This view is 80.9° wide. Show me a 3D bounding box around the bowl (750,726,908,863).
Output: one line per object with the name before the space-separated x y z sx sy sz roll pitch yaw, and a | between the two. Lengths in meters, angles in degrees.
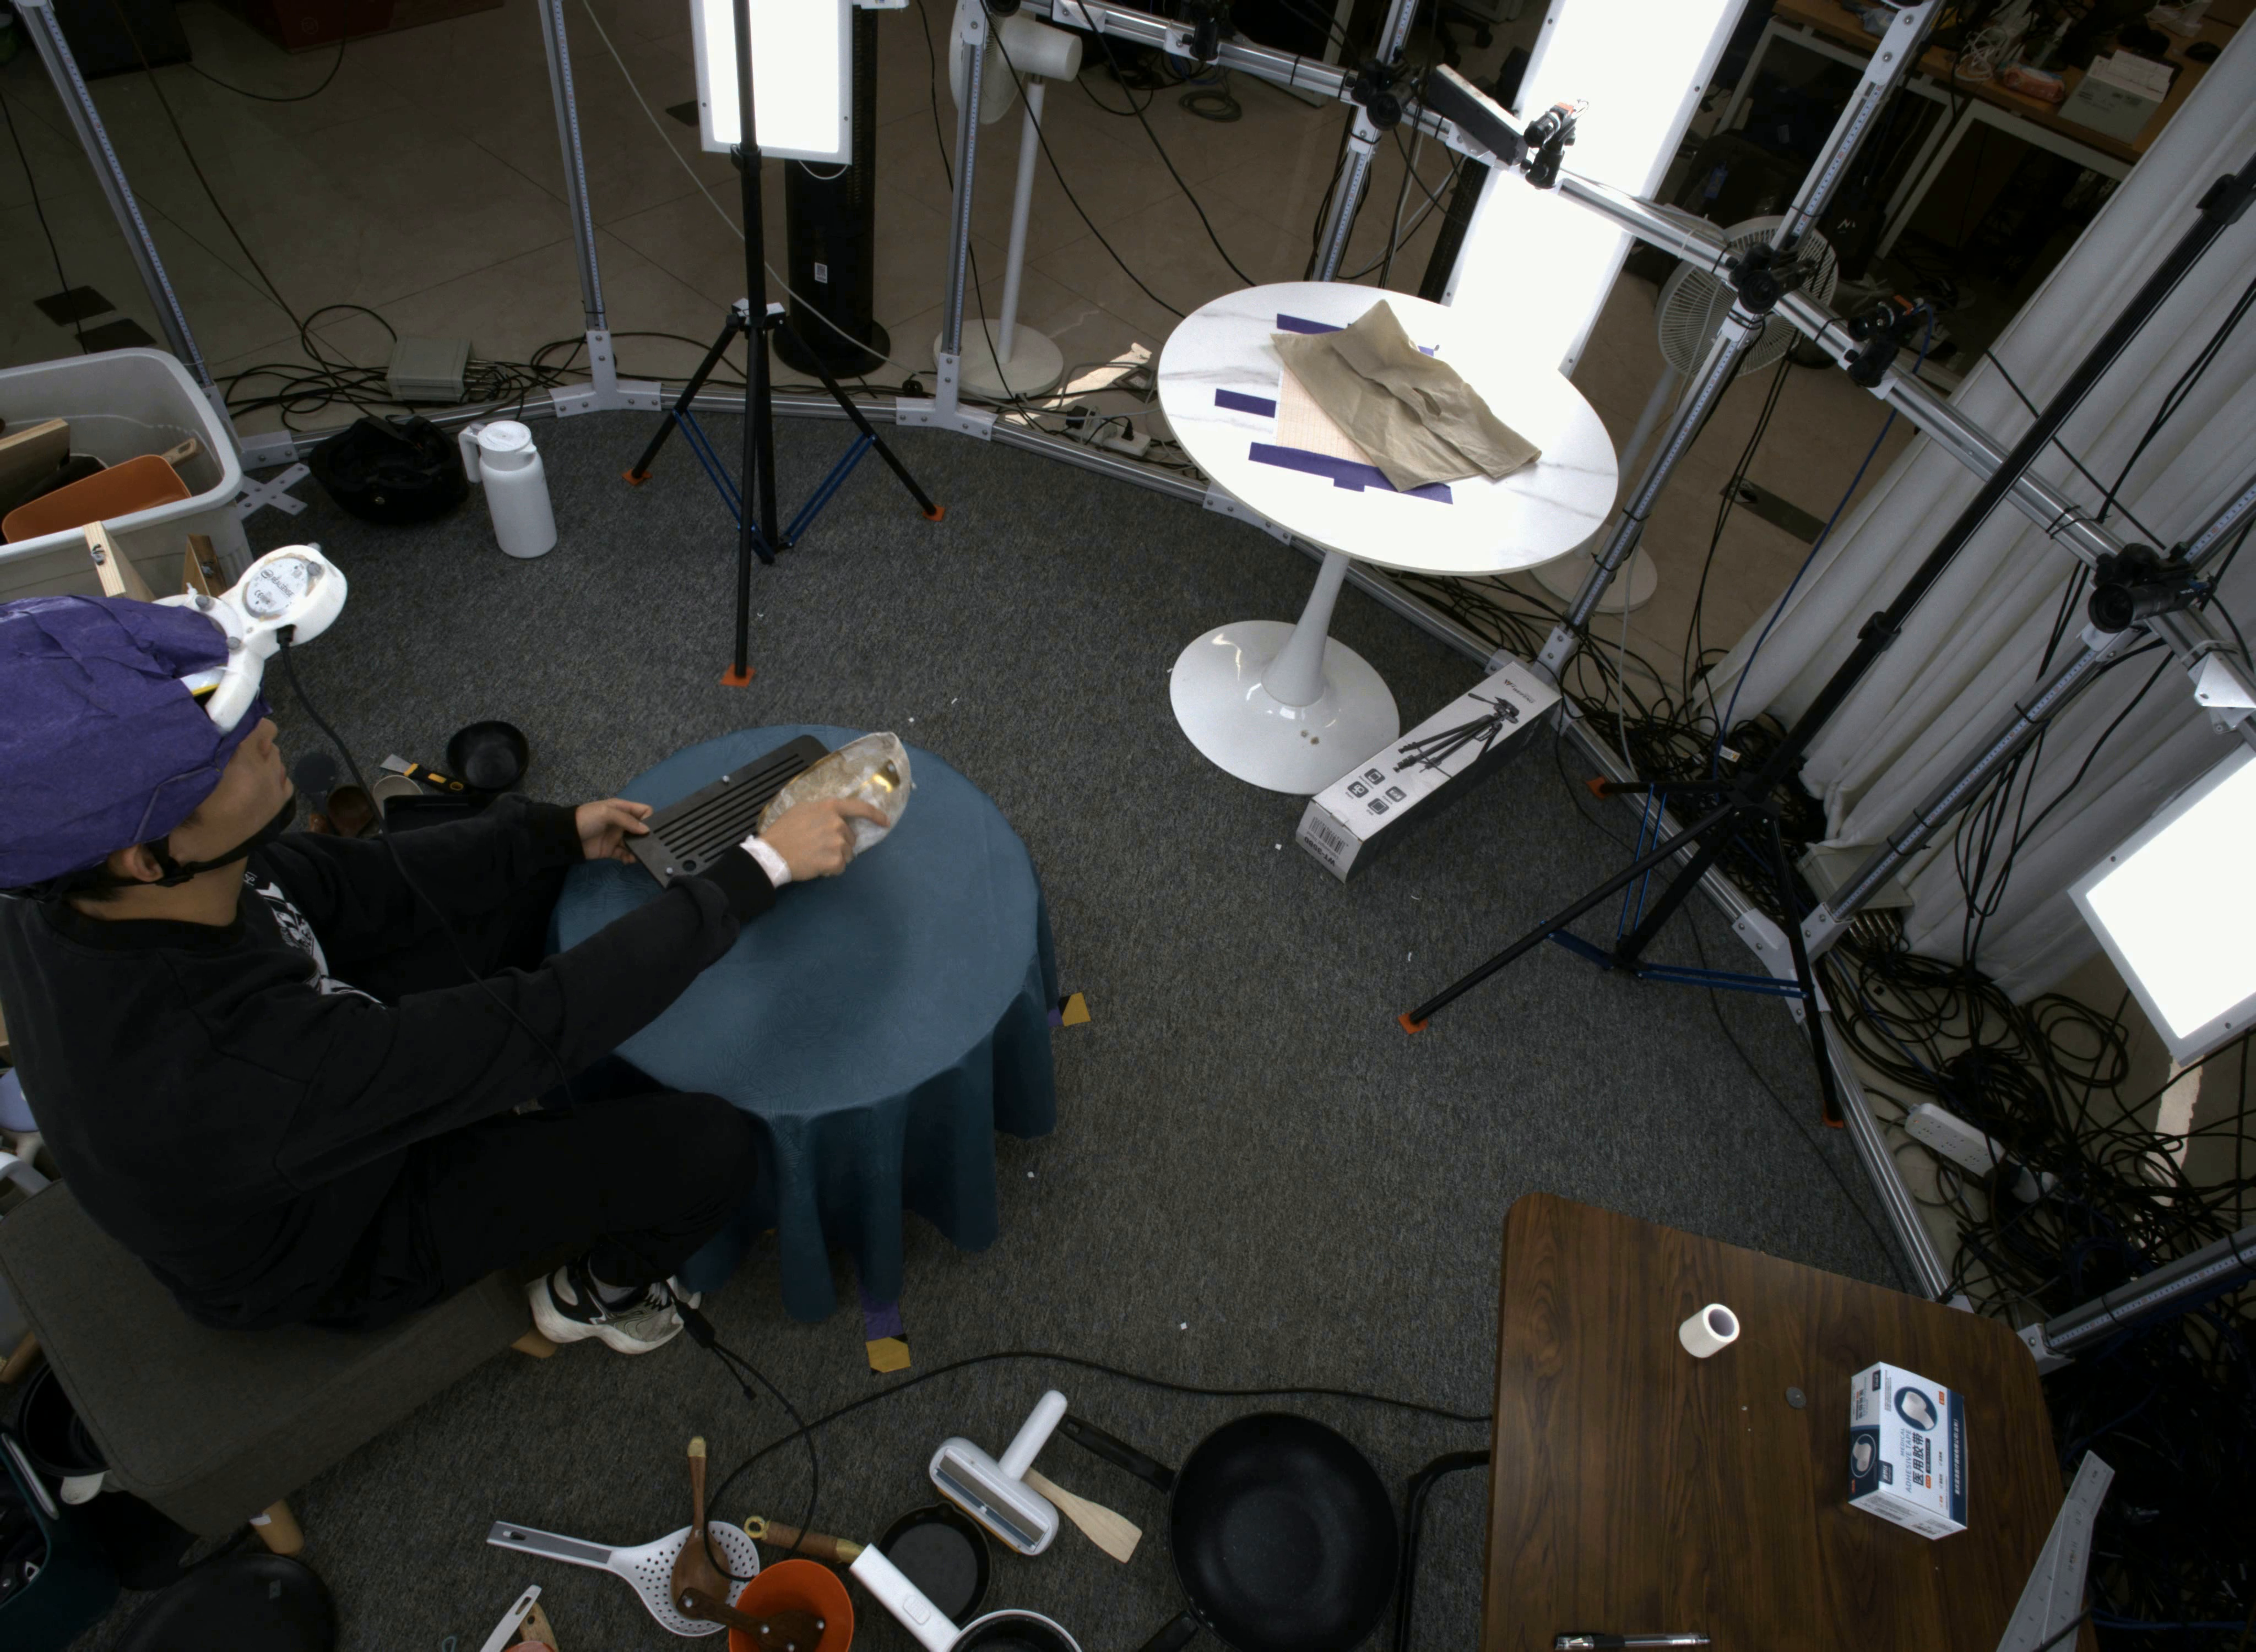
bowl | -0.346 -0.021 1.570 0.212 0.098 0.210 -26 26 16

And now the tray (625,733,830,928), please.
tray | -0.479 0.000 1.673 0.168 0.019 0.307 46 51 10
